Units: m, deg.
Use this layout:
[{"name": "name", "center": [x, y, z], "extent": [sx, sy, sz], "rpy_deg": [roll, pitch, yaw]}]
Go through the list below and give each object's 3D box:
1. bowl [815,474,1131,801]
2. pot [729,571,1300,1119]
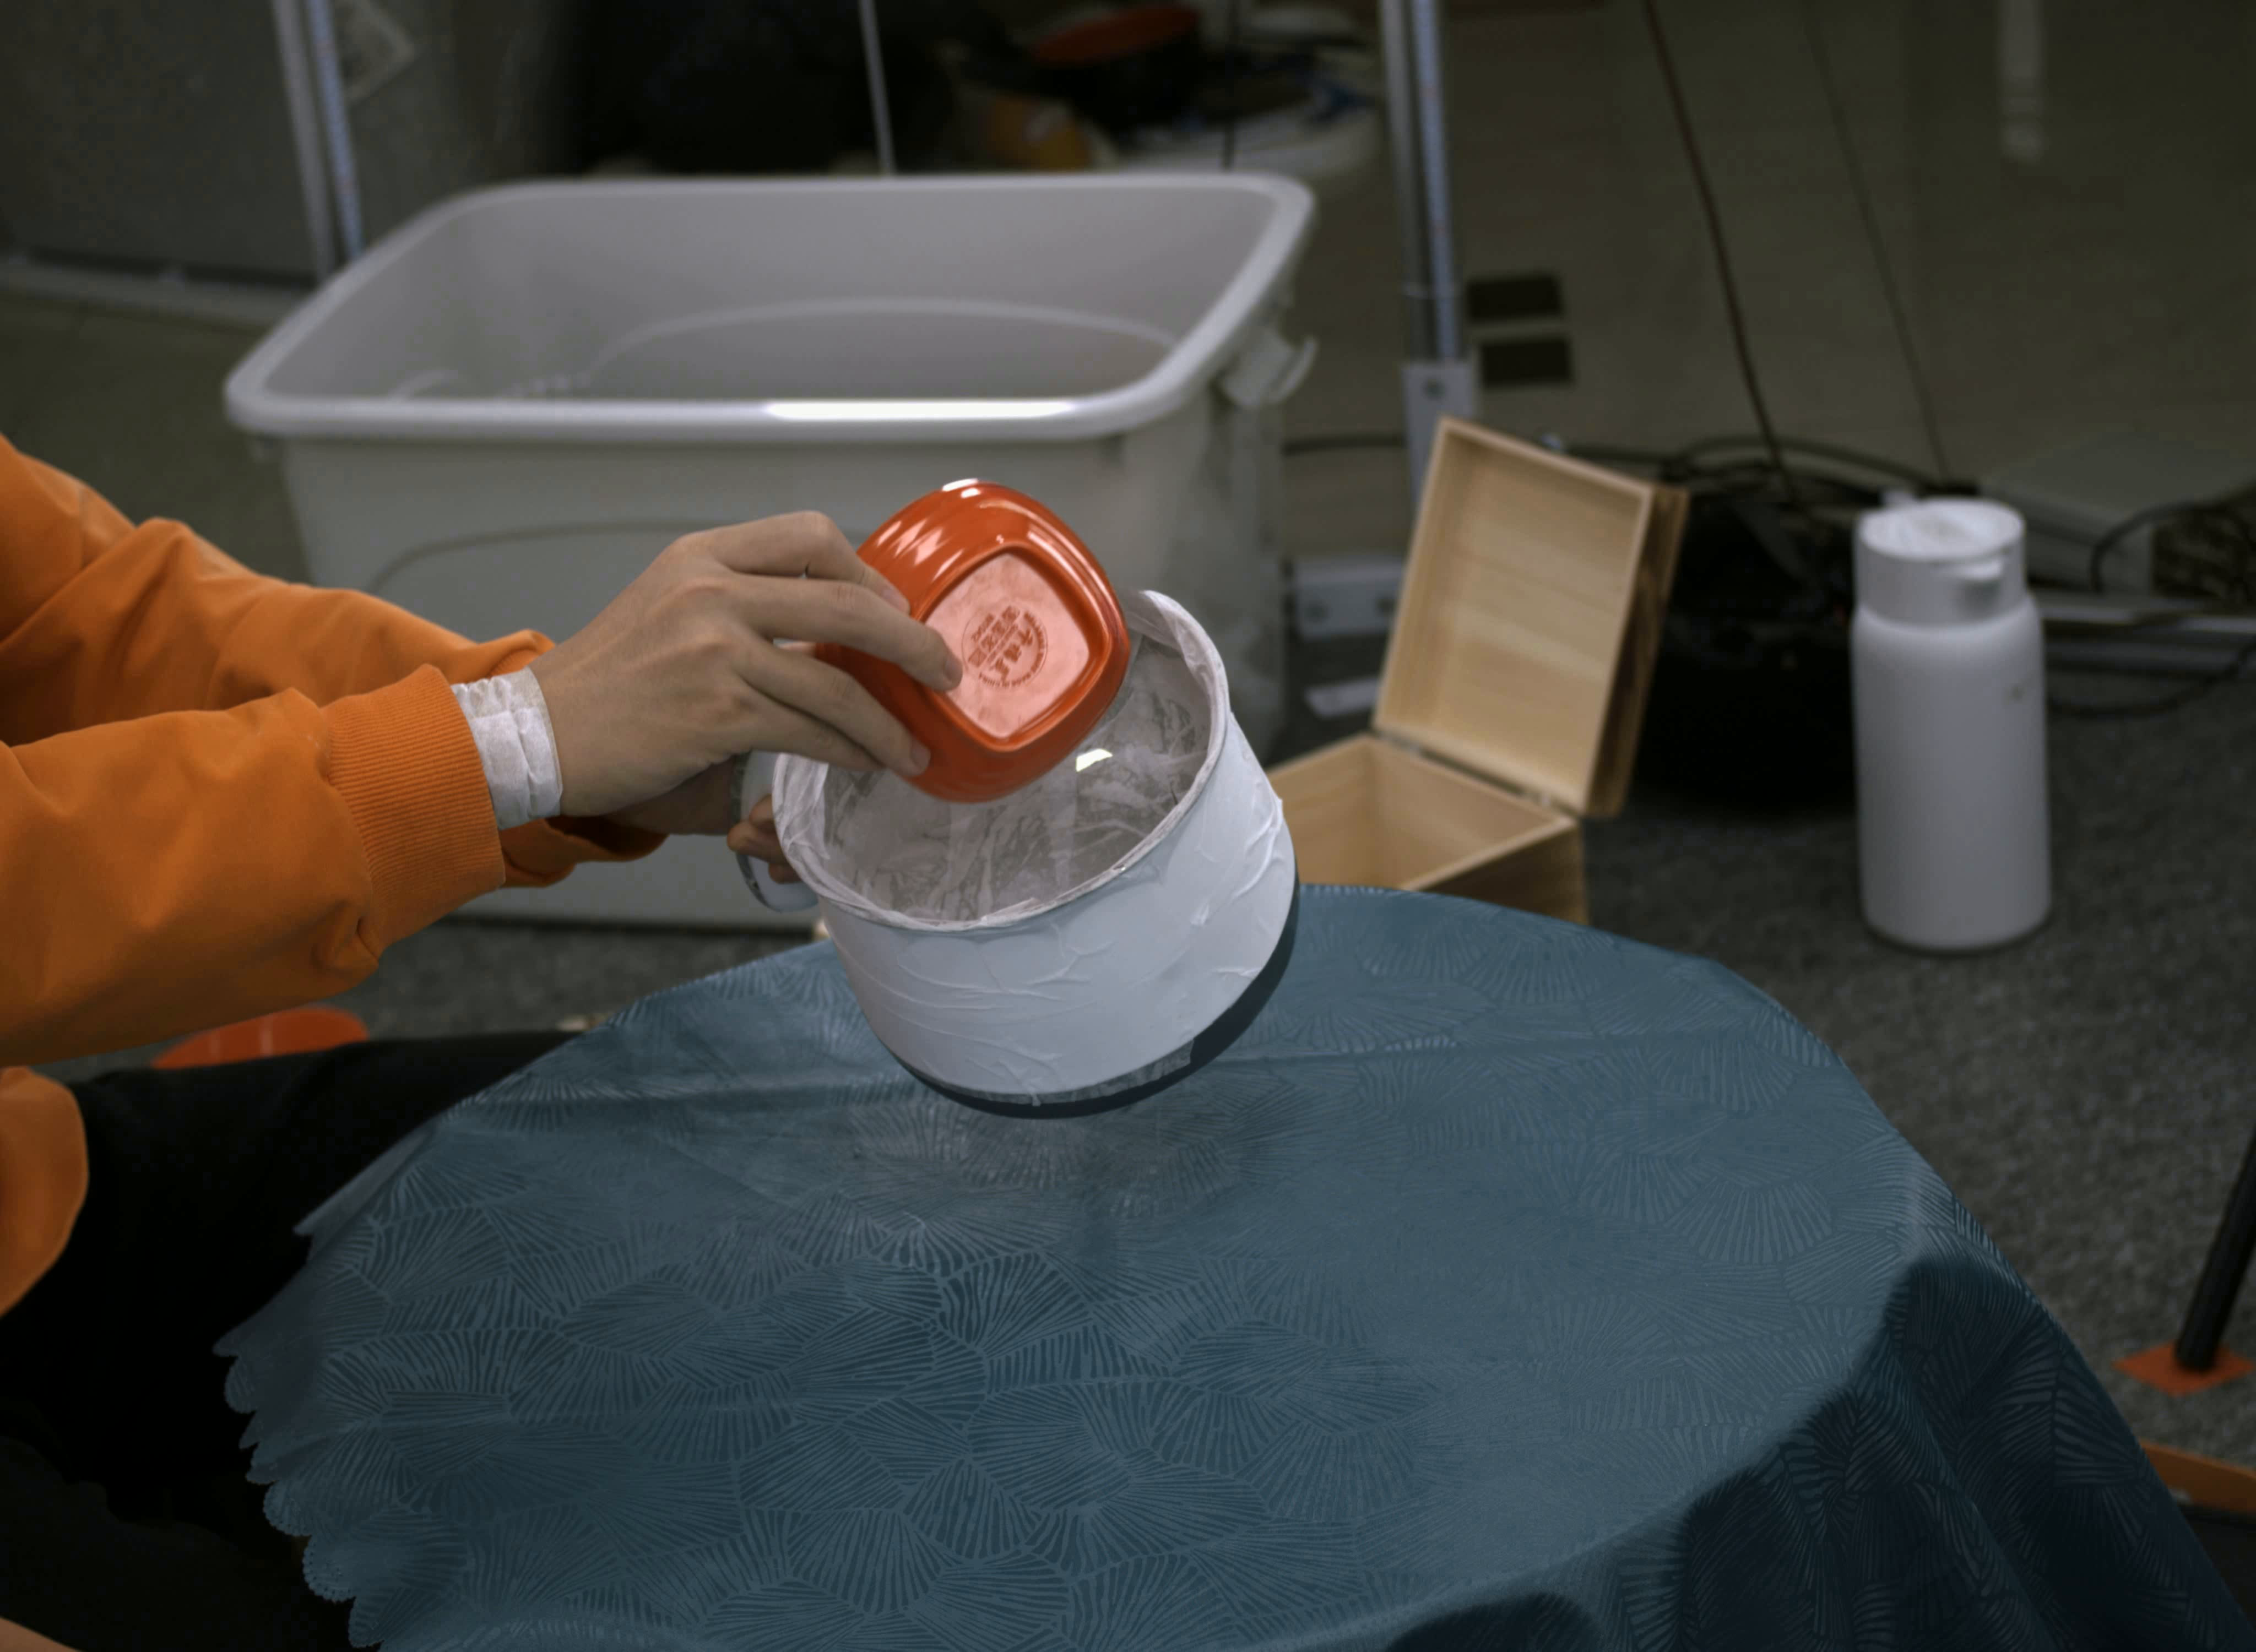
[{"name": "bowl", "center": [-0.050, -0.067, 2.035], "extent": [0.118, 0.120, 0.051], "rpy_deg": [-14, 10, -16]}, {"name": "pot", "center": [-0.054, 0.007, 2.141], "extent": [0.232, 0.139, 0.176], "rpy_deg": [9, 54, 28]}]
